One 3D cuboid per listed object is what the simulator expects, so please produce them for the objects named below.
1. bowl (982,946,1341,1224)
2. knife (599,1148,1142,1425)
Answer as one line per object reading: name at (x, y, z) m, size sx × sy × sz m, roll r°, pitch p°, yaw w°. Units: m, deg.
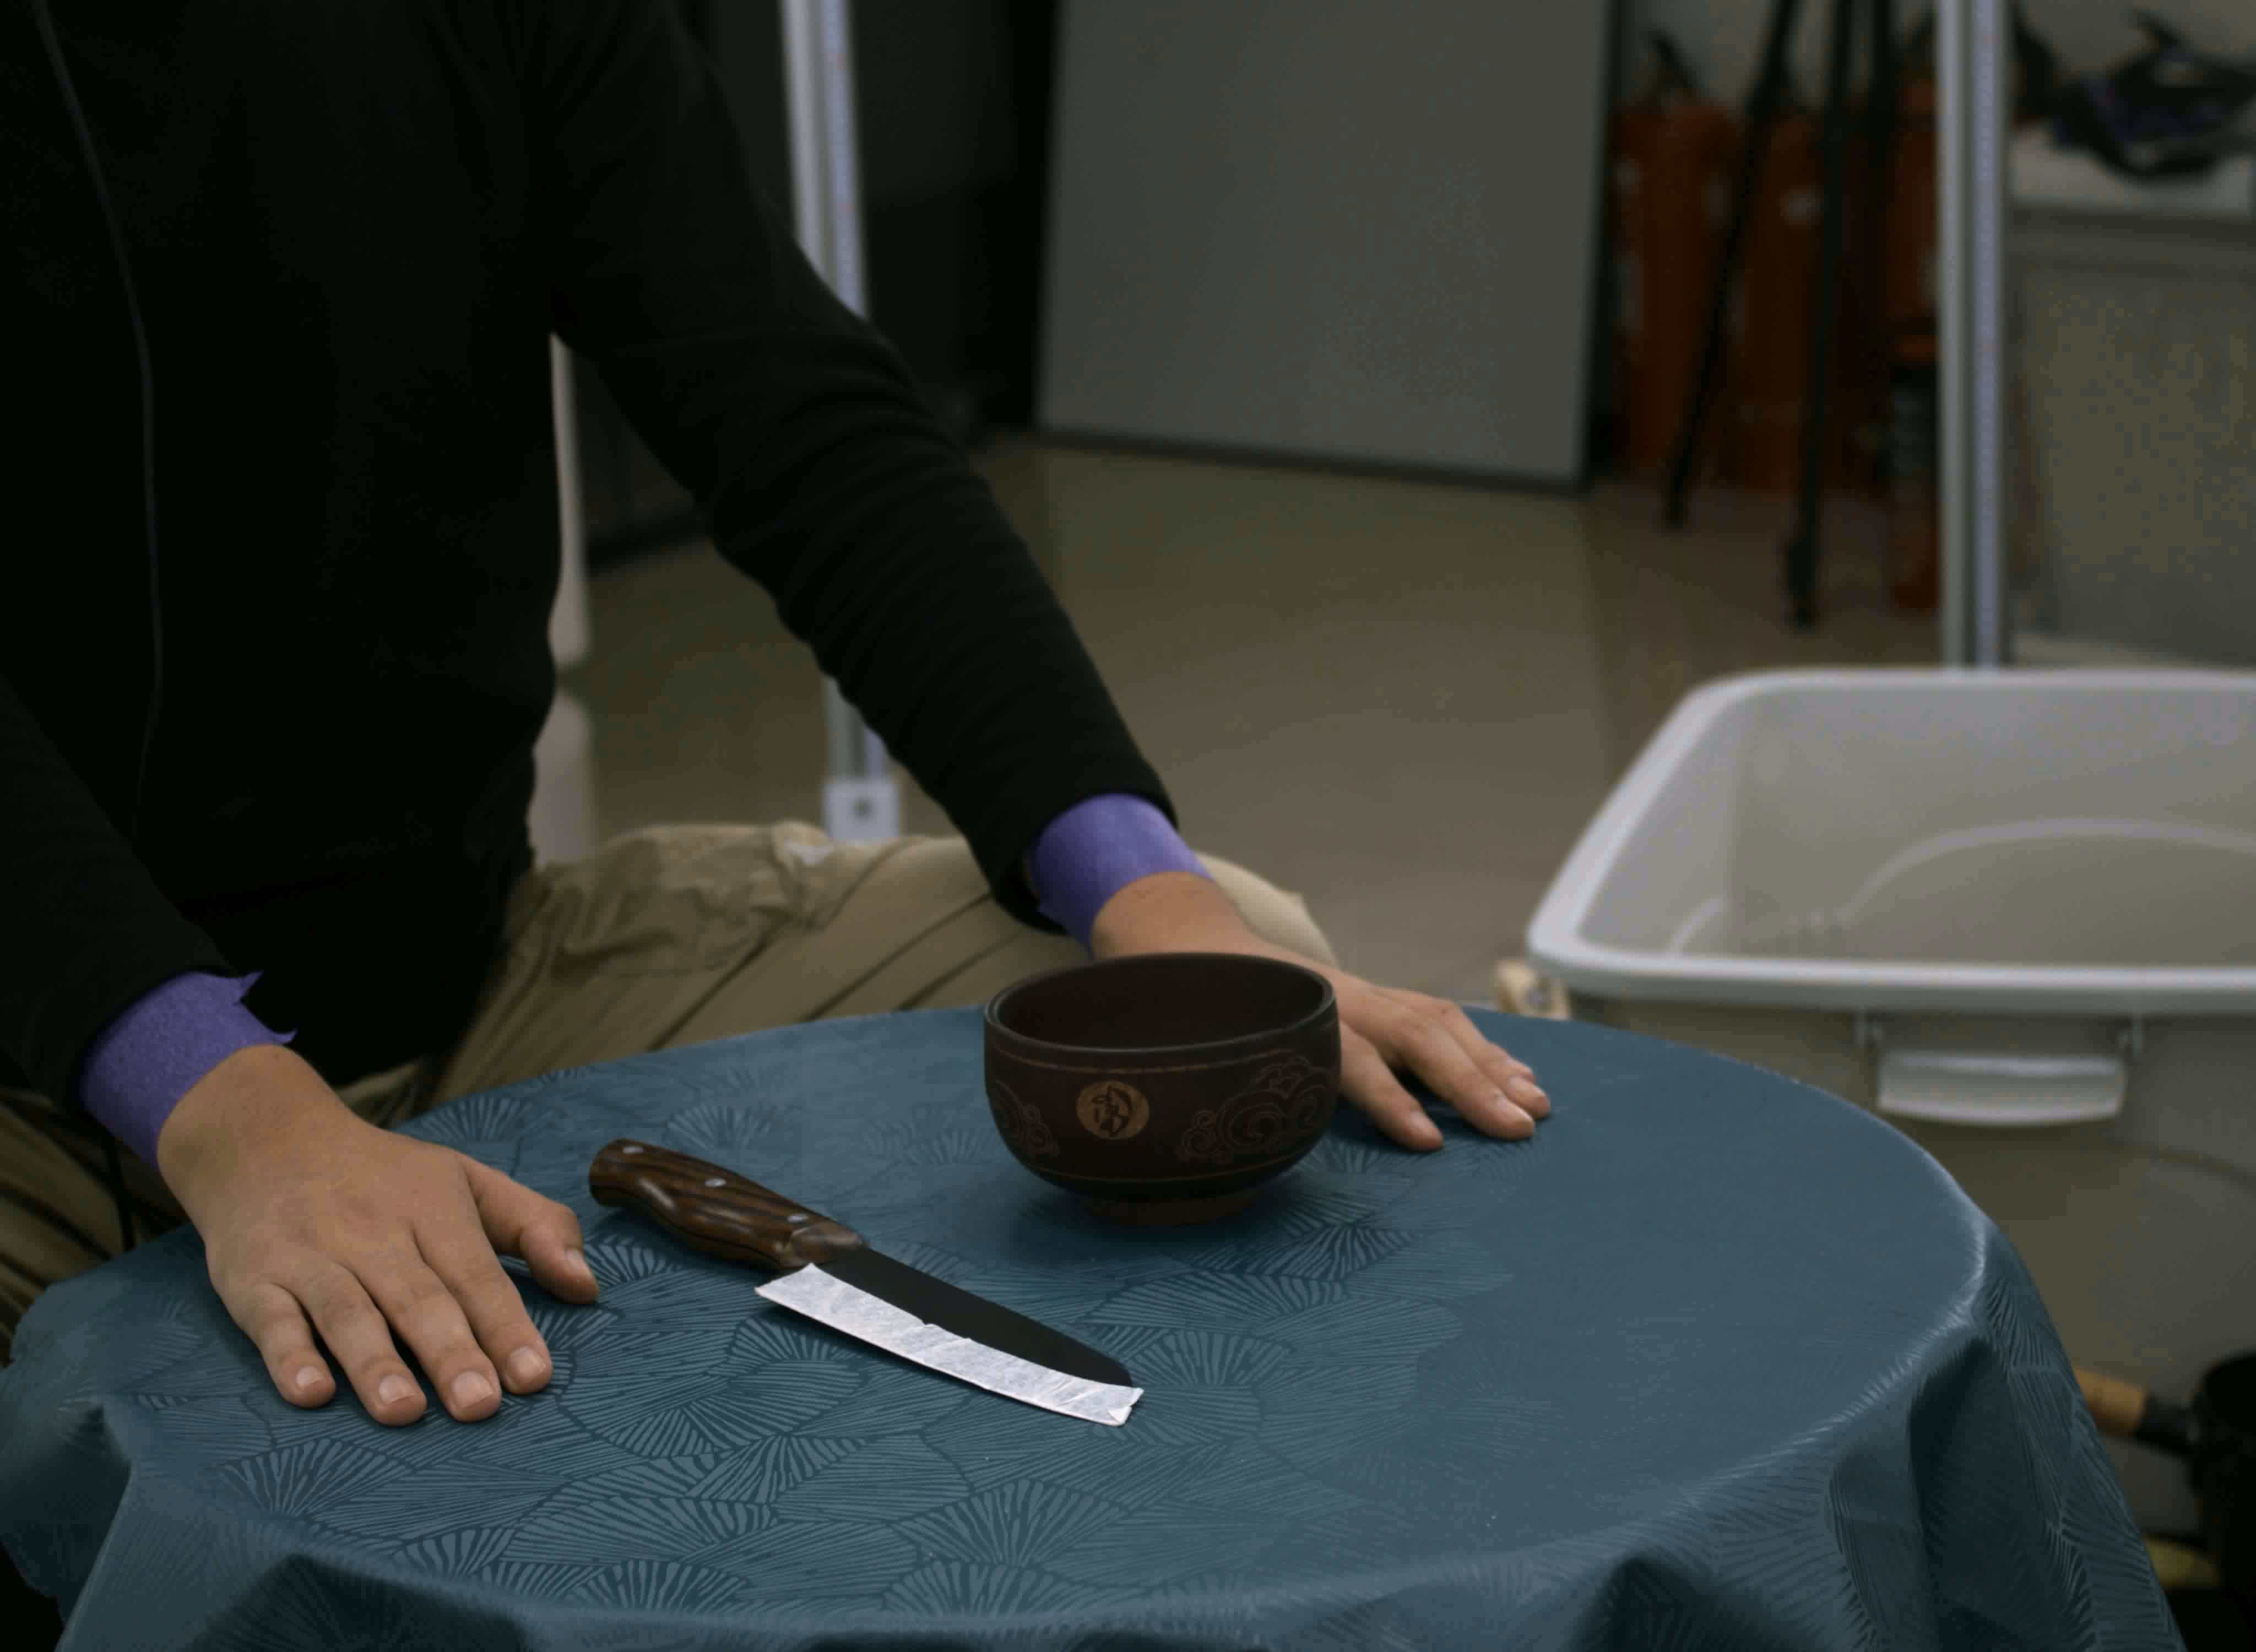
bowl at (0.012, 0.088, 1.754) m, size 0.116 × 0.070 × 0.118 m, roll -4°, pitch 13°, yaw 0°
knife at (-0.083, 0.144, 1.678) m, size 0.049 × 0.020 × 0.292 m, roll -19°, pitch 22°, yaw -32°
